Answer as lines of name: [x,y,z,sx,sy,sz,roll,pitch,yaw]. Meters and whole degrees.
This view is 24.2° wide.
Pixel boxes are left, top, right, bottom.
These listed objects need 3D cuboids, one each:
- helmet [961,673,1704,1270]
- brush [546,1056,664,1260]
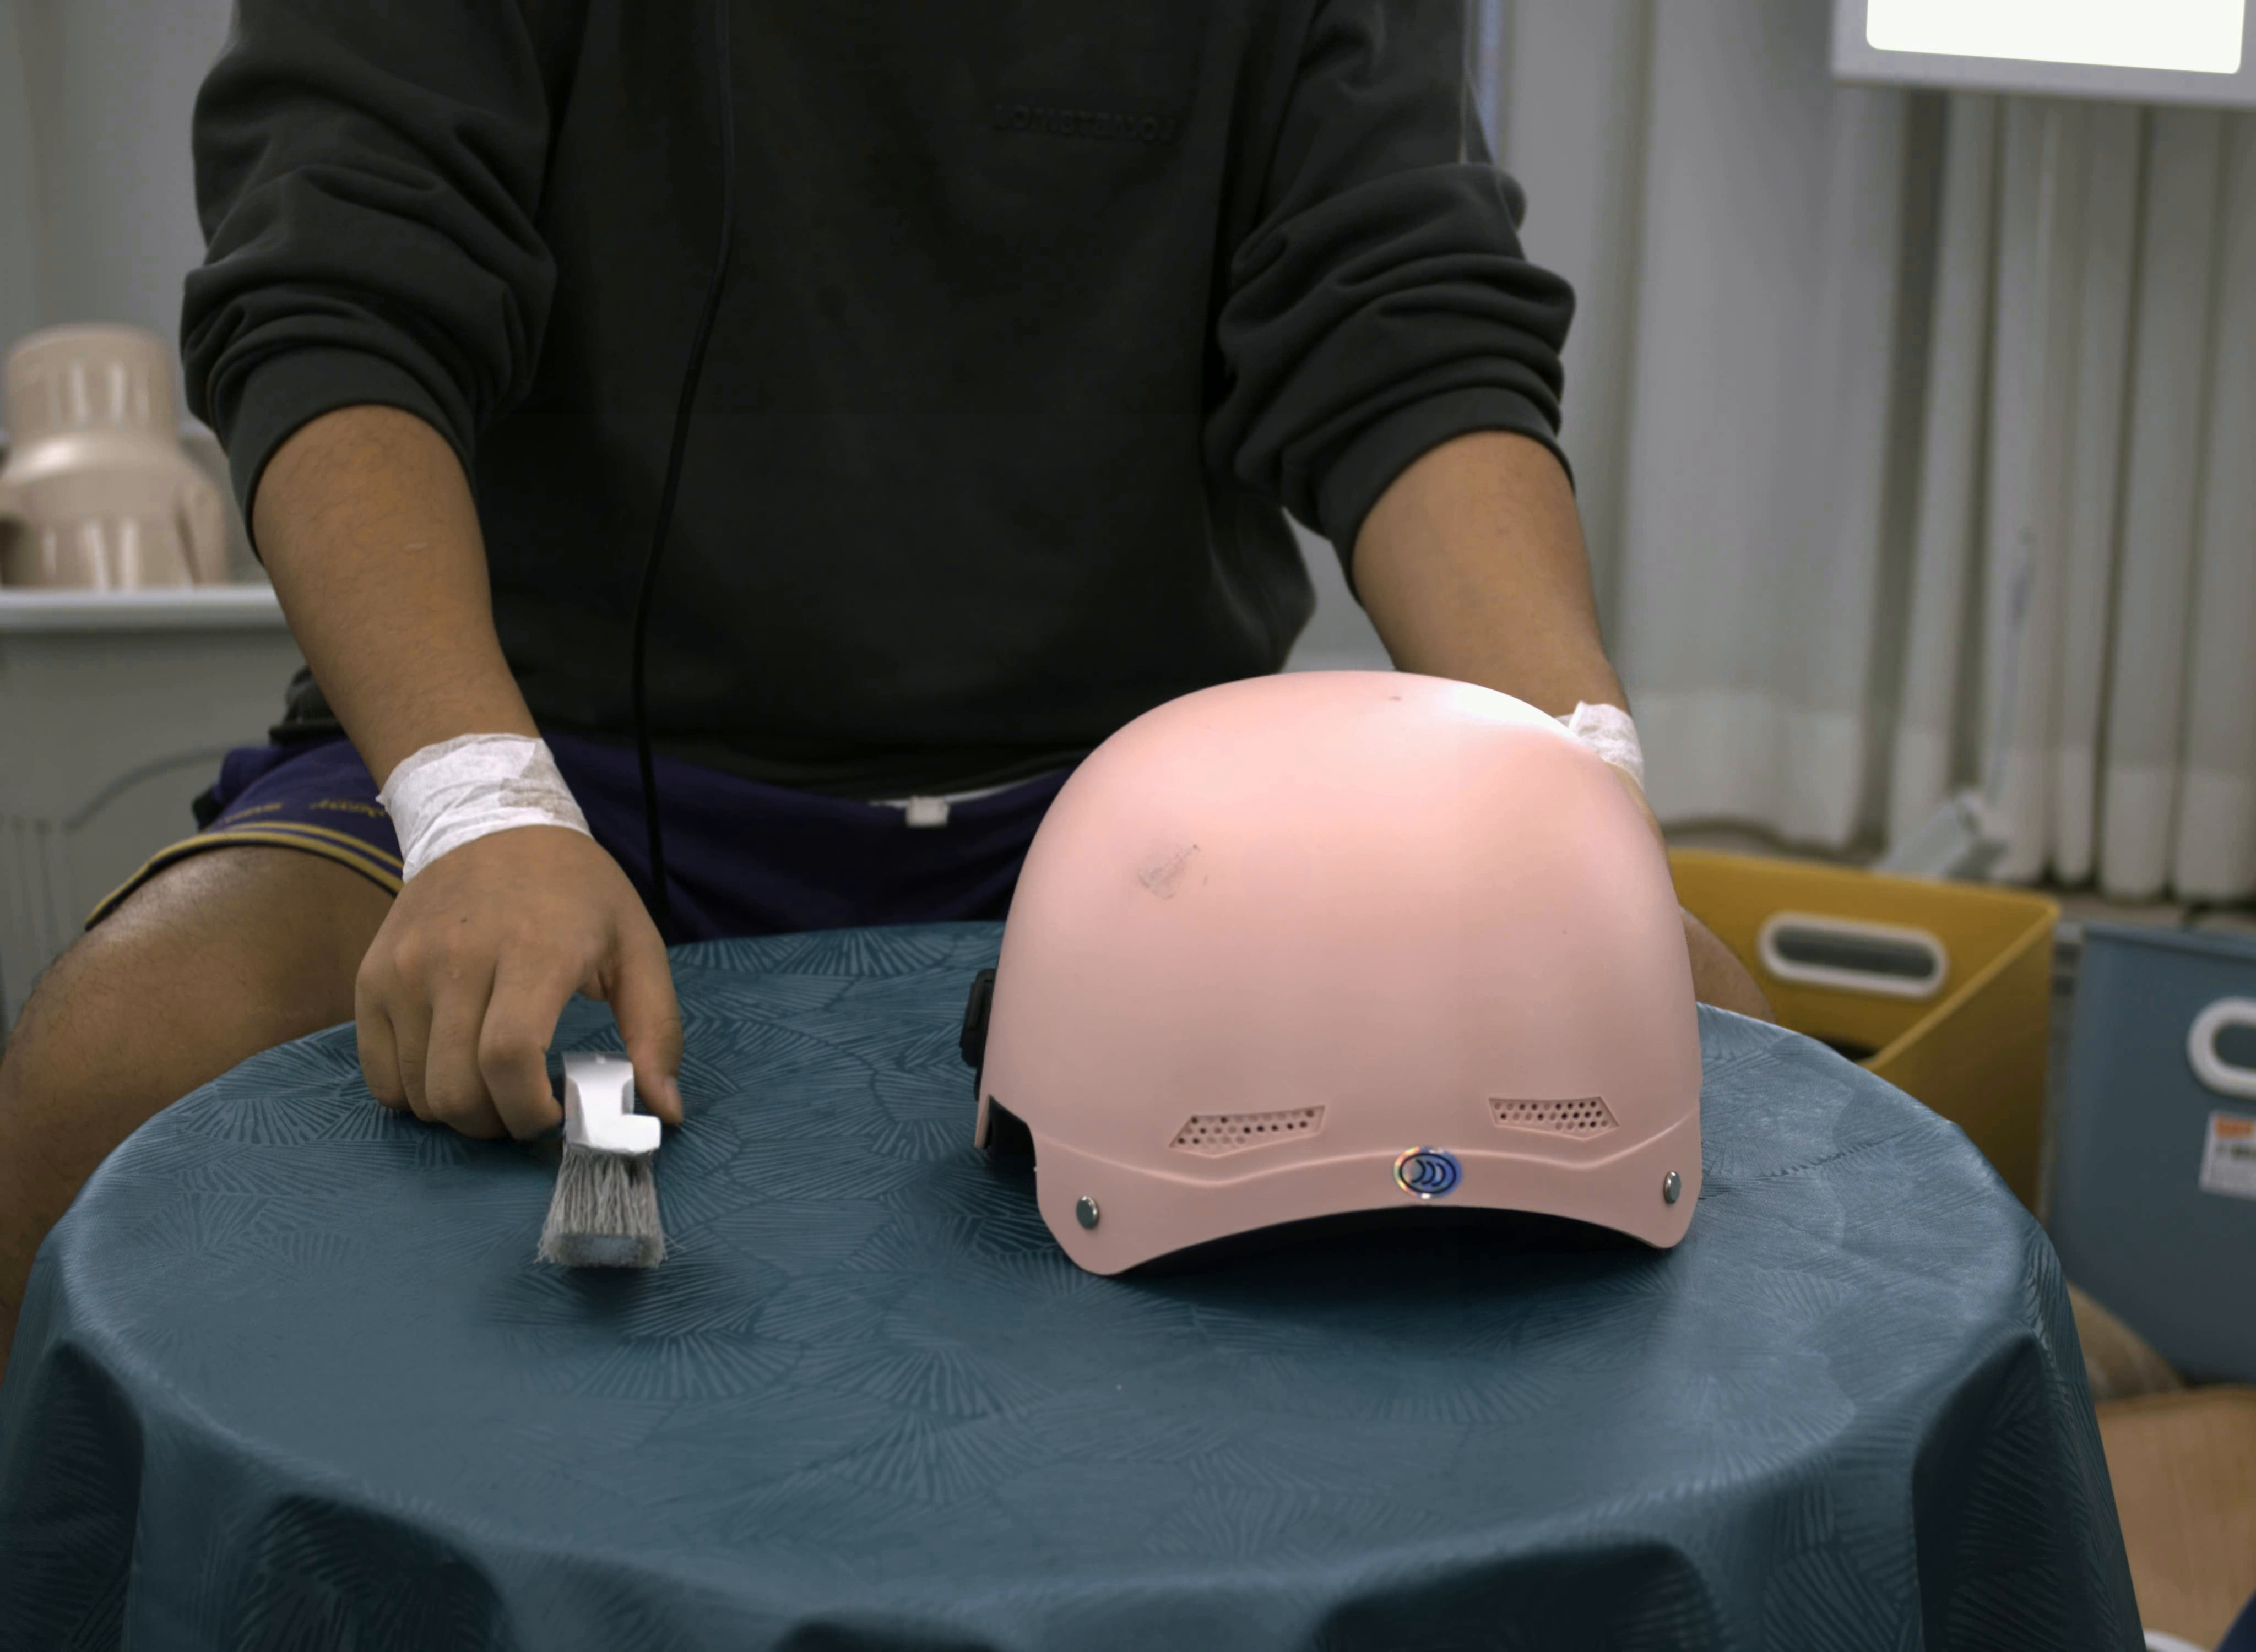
helmet: [0.065,0.030,1.625,0.234,0.160,0.264,-3,14,-7]
brush: [-0.163,0.101,1.614,0.034,0.050,0.243,0,2,-7]
